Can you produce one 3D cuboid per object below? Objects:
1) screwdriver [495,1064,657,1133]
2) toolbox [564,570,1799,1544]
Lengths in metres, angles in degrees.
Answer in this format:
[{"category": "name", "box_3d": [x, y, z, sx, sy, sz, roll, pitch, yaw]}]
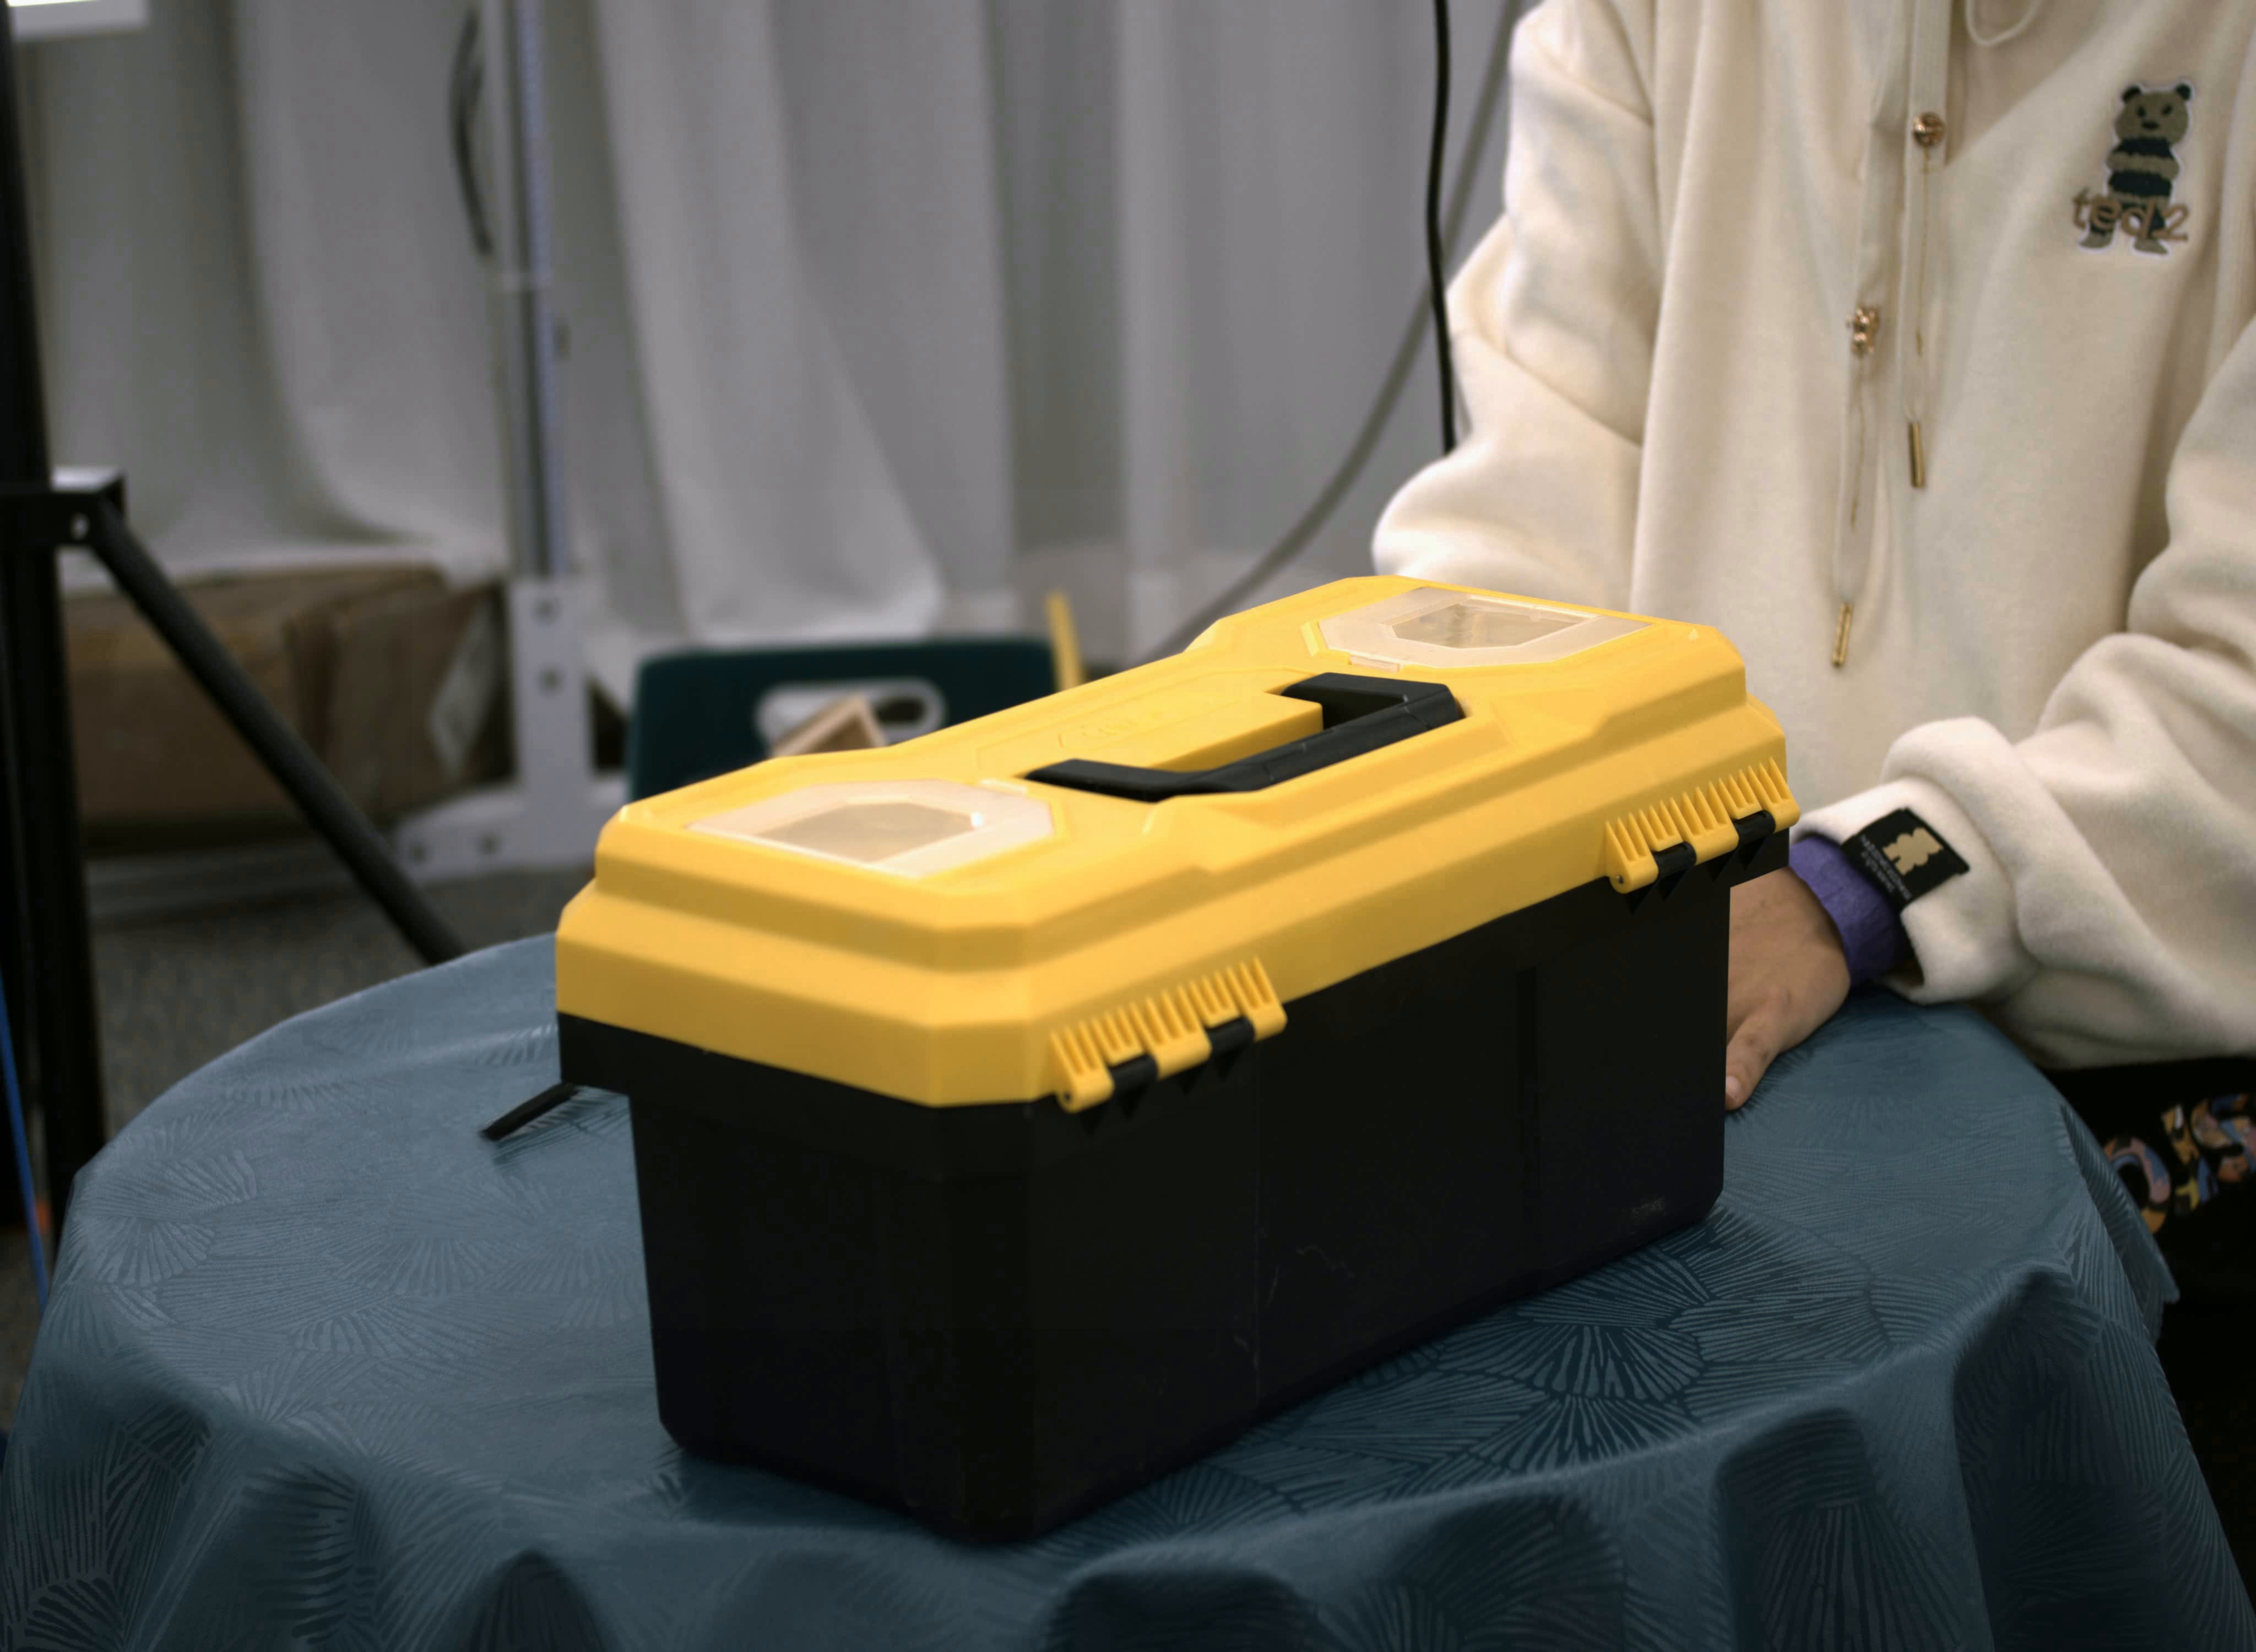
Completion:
[{"category": "screwdriver", "box_3d": [-0.140, 0.063, 1.700, 0.034, 0.033, 0.186, 9, 24, 34]}, {"category": "toolbox", "box_3d": [0.022, 0.053, 1.431, 0.185, 0.173, 0.343, 12, 21, 42]}]
